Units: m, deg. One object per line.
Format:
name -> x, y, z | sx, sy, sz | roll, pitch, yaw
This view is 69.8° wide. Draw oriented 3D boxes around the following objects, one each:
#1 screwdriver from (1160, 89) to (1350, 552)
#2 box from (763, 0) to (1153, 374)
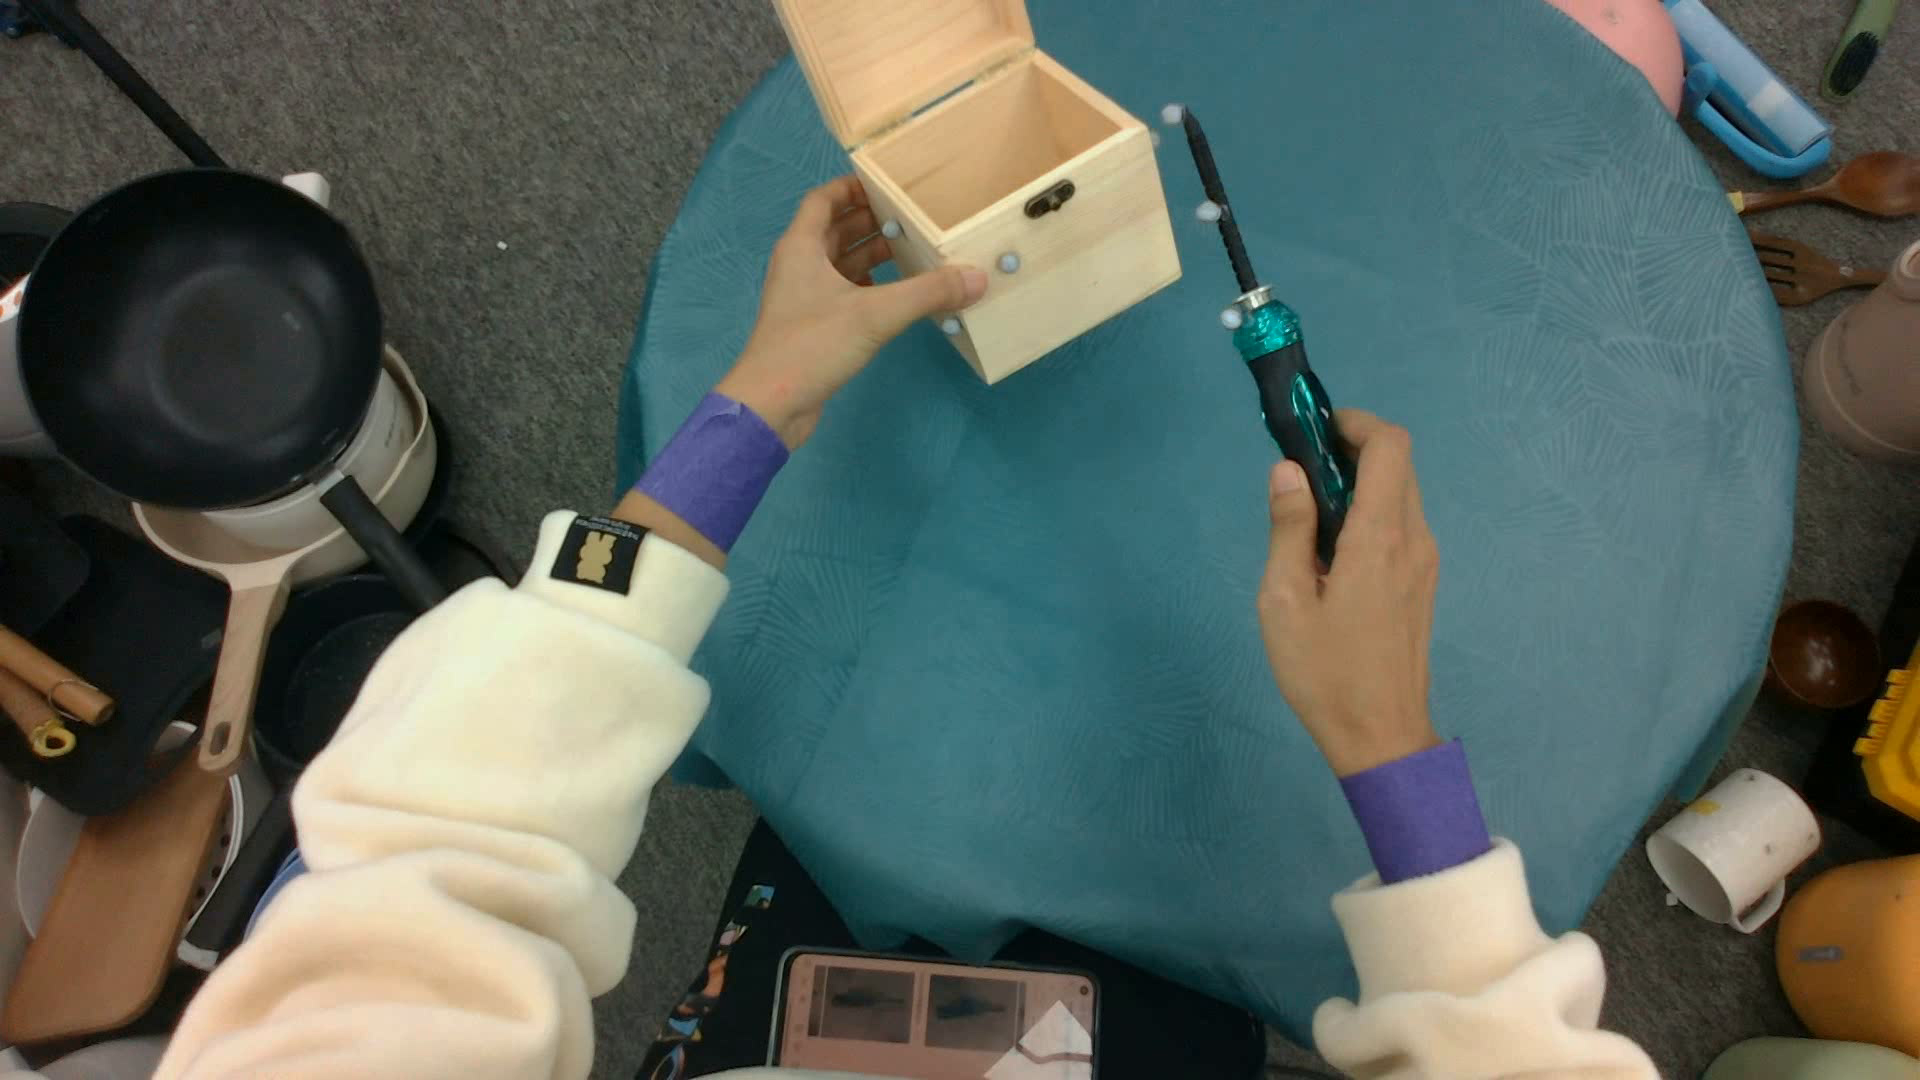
screwdriver -> 0.113, -0.085, 0.541 | 0.034, 0.034, 0.190 | -22, 98, -7
box -> -0.004, -0.190, 0.597 | 0.103, 0.184, 0.134 | -29, 43, -7
